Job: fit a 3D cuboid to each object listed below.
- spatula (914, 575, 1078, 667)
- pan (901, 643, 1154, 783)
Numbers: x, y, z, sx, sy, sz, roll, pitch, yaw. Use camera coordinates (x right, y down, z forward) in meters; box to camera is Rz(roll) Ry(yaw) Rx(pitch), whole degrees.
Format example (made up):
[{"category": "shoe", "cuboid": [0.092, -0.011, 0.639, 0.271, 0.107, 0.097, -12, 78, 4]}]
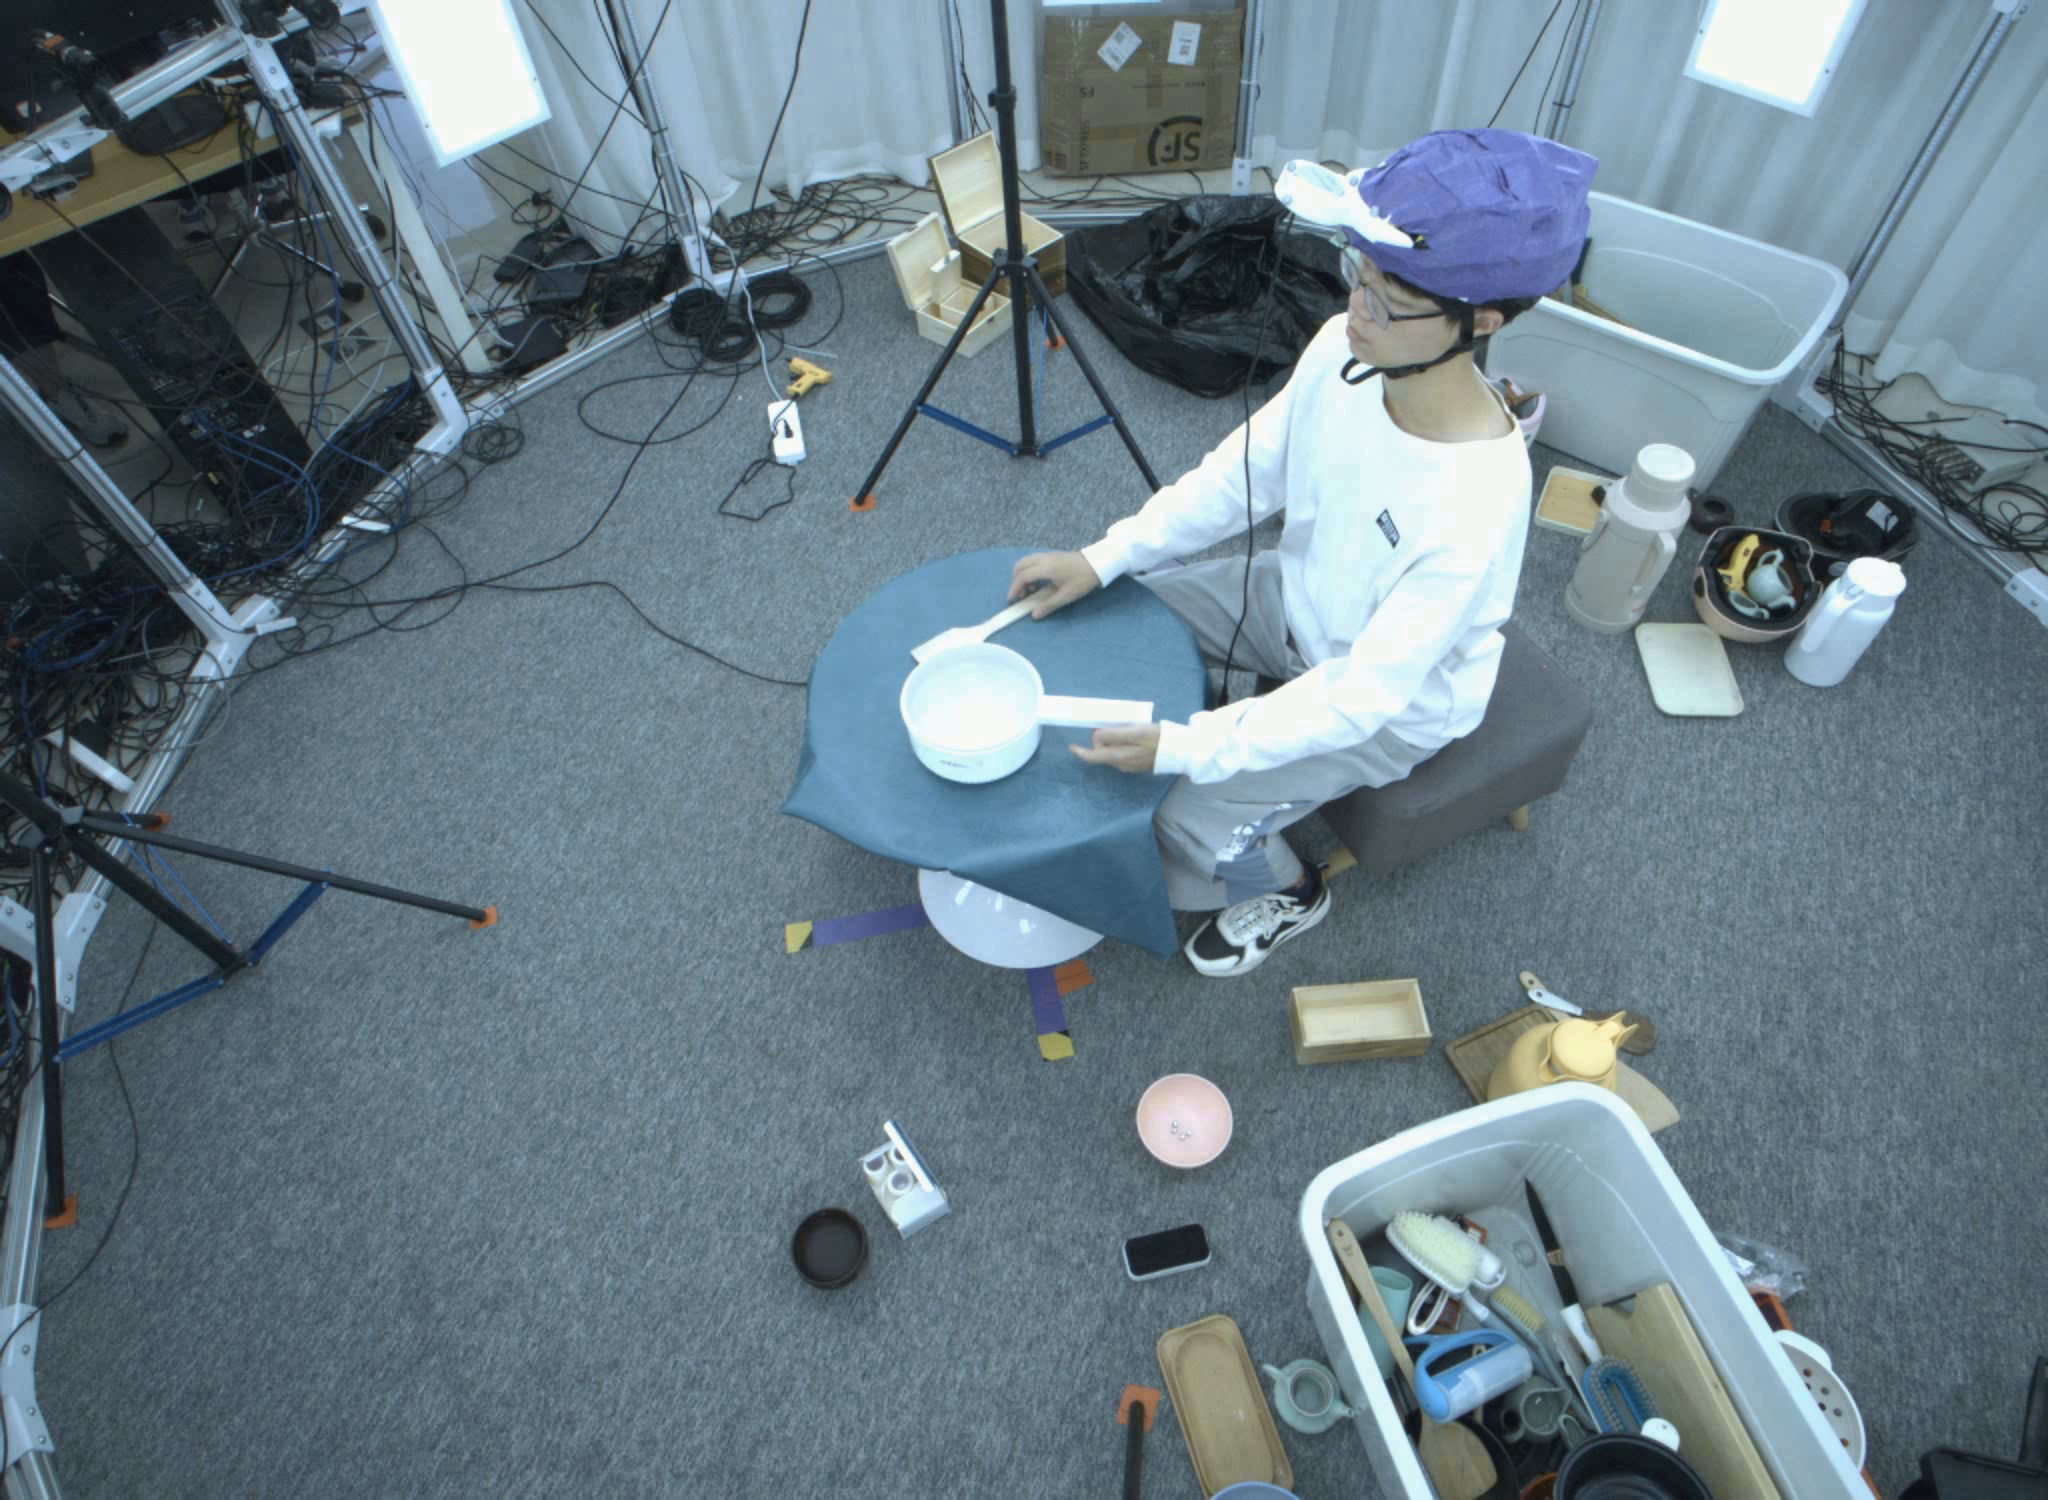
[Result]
[{"category": "spatula", "cuboid": [-0.036, -0.203, 1.926, 0.295, 0.011, 0.071, -32, 58, -19]}, {"category": "pan", "cuboid": [0.006, -0.041, 1.754, 0.354, 0.103, 0.200, 6, 54, 4]}]
